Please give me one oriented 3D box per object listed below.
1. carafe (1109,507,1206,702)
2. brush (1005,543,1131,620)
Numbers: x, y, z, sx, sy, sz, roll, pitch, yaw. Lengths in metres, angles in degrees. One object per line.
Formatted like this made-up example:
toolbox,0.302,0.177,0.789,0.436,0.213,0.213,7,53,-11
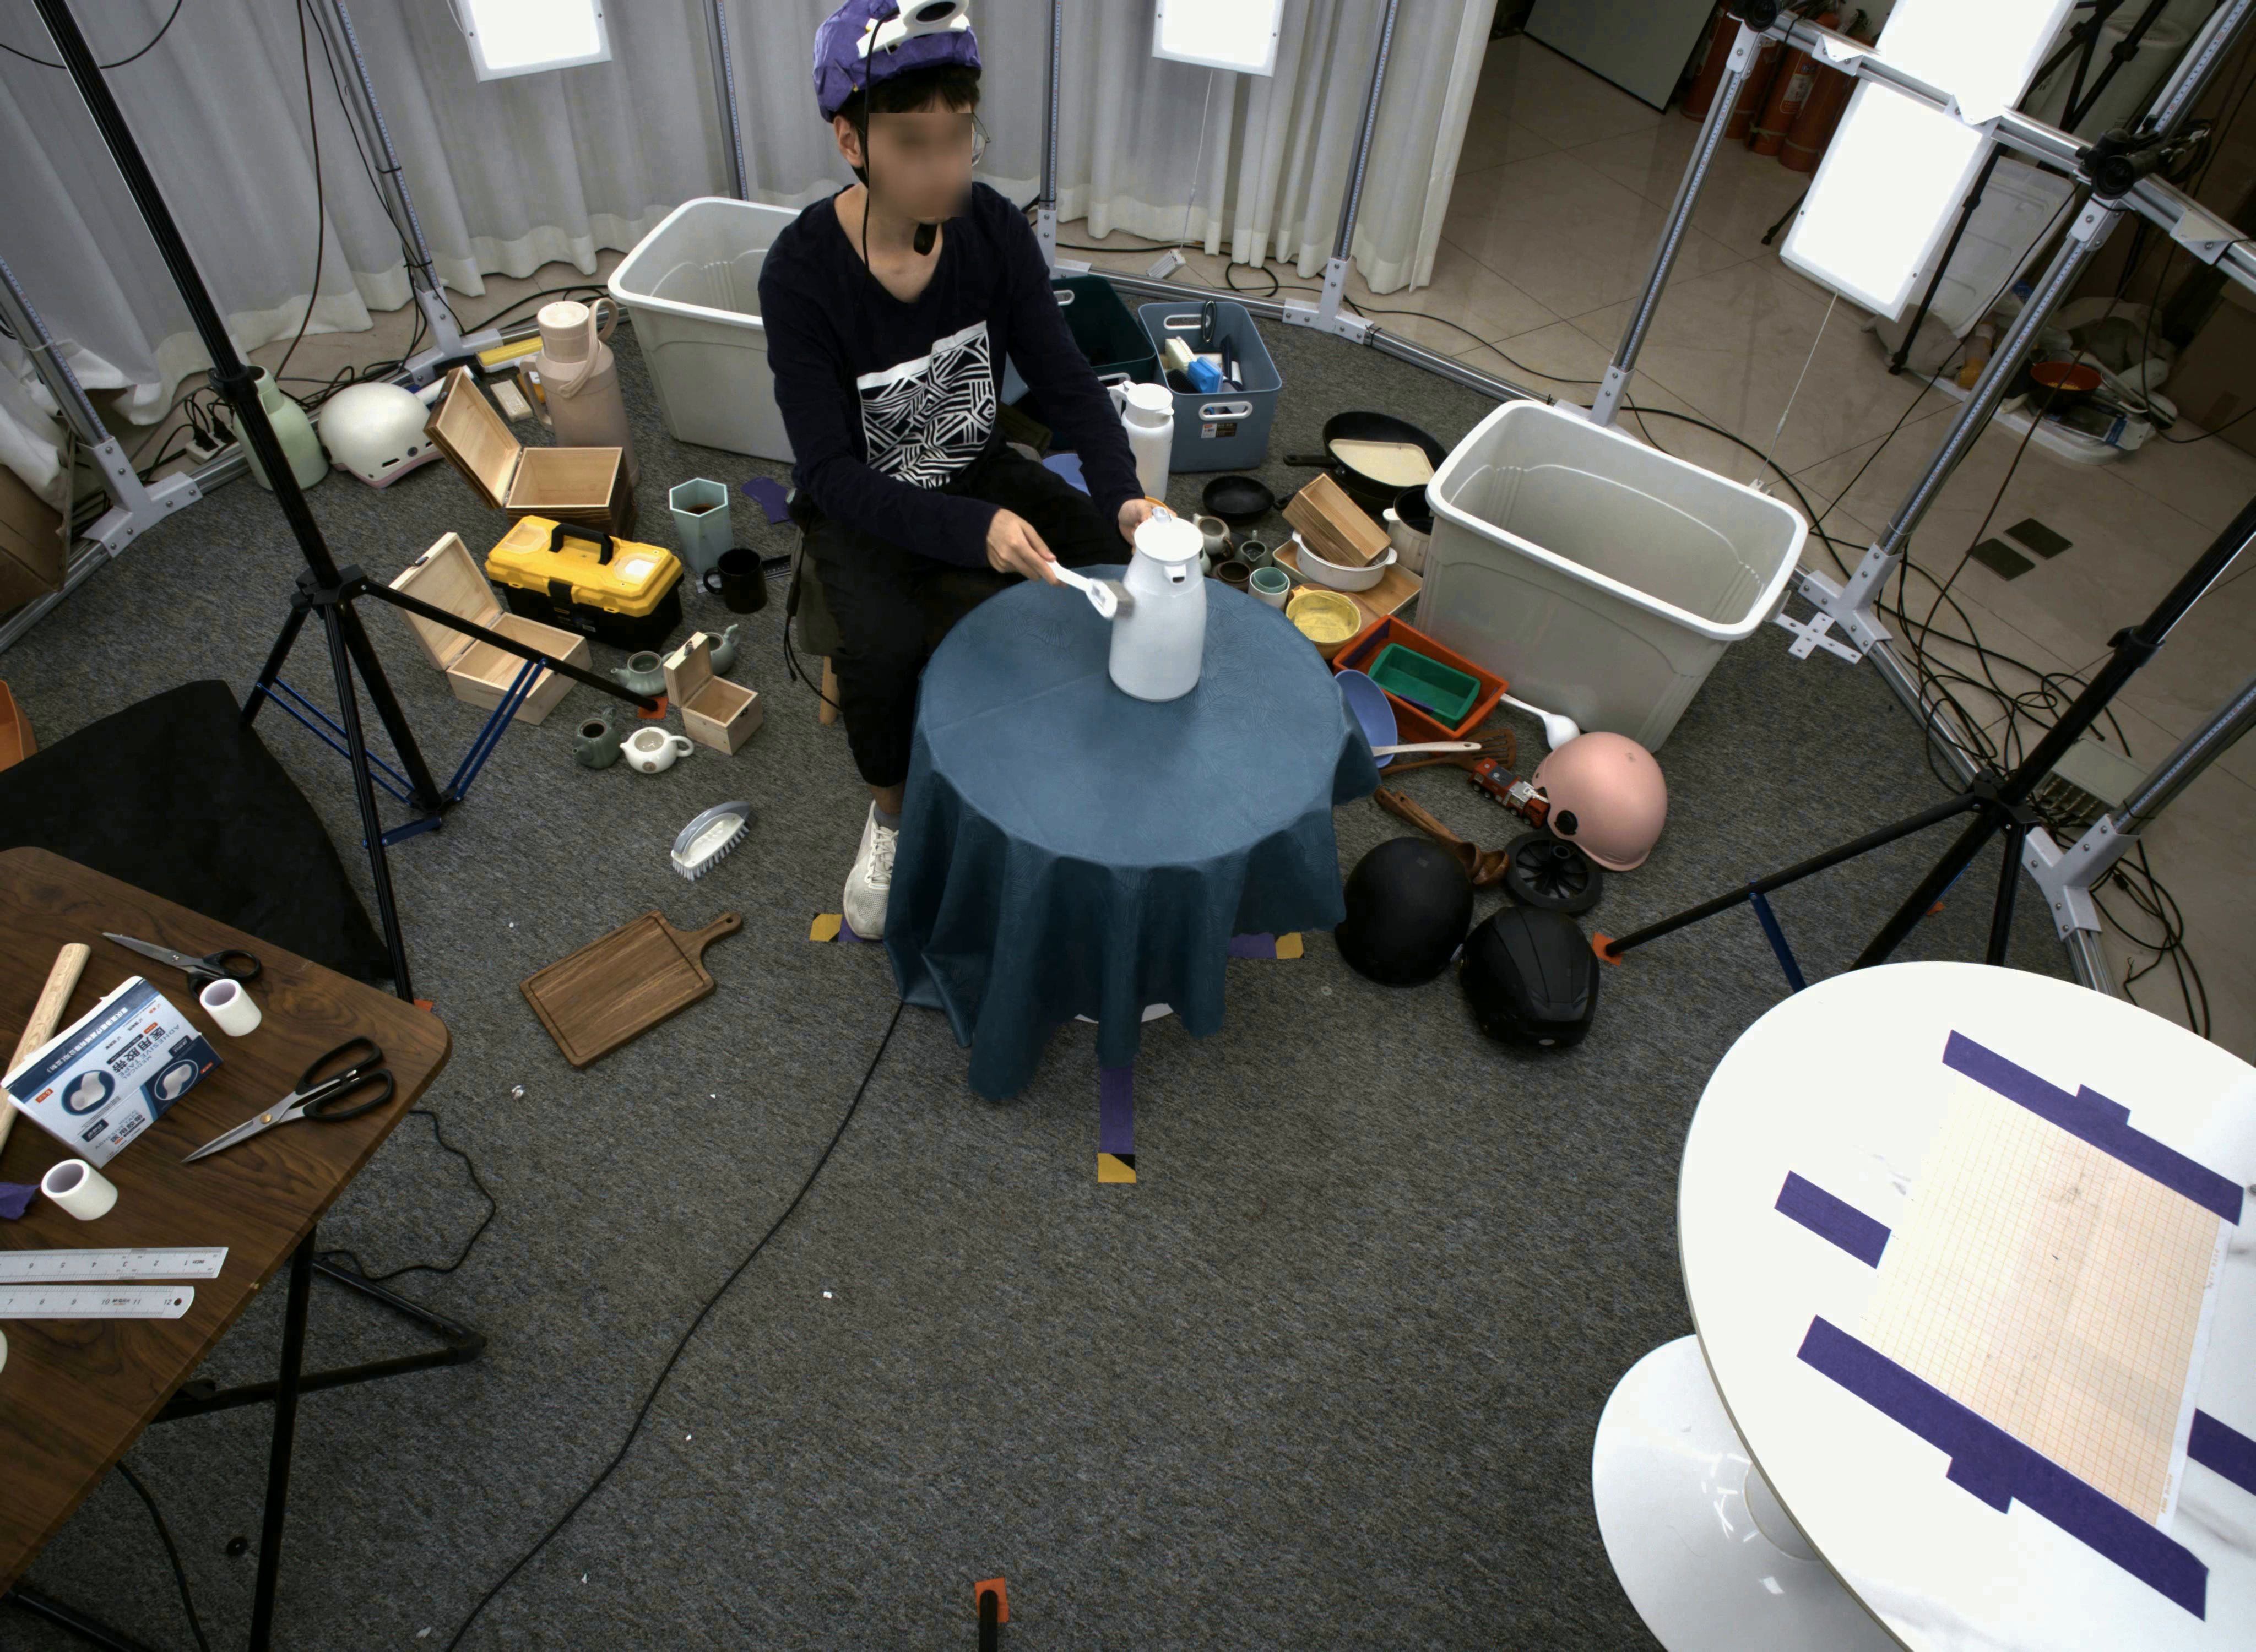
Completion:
carafe,0.039,-0.319,1.787,0.132,0.242,0.172,-9,50,-11
brush,-0.082,-0.346,1.785,0.050,0.033,0.248,-23,43,-35
